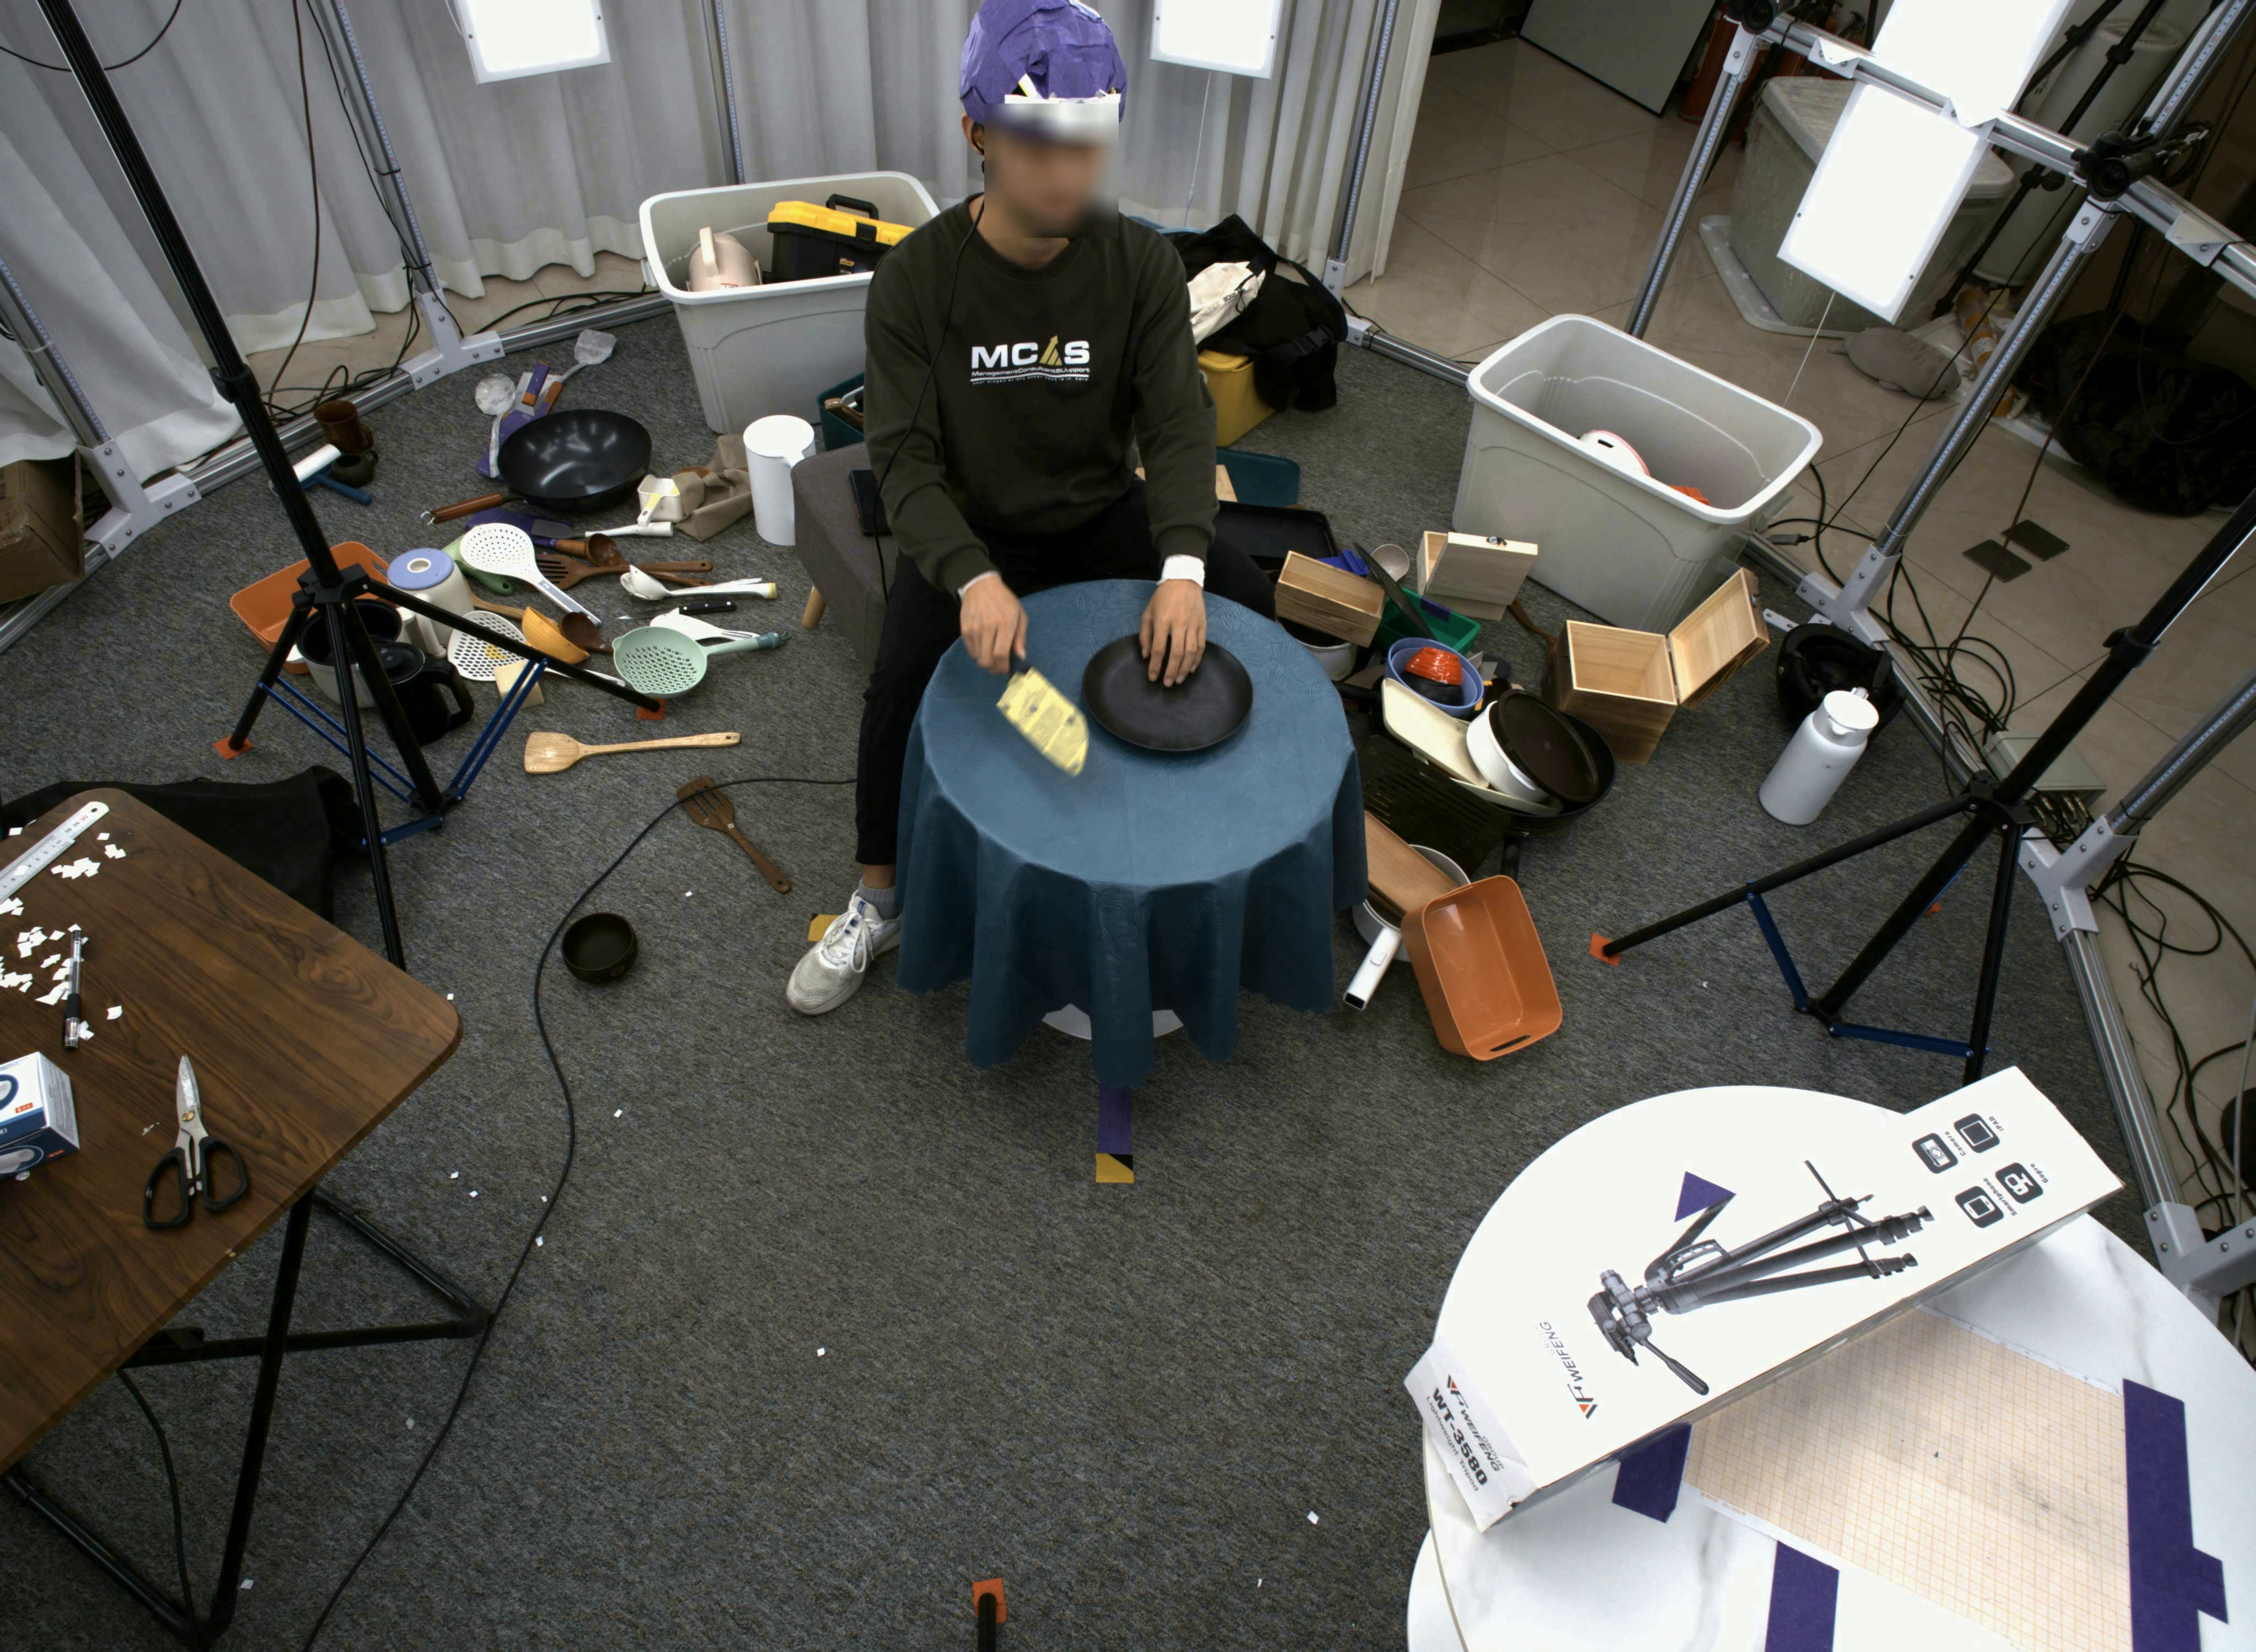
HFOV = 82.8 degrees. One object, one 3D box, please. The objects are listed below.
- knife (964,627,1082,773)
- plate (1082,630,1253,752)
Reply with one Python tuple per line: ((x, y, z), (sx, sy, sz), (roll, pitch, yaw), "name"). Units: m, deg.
((-0.147, -0.171, 1.730), (0.080, 0.027, 0.295), (-48, 58, 13), "knife")
((0.056, -0.190, 1.820), (0.244, 0.023, 0.250), (2, 49, -2), "plate")
